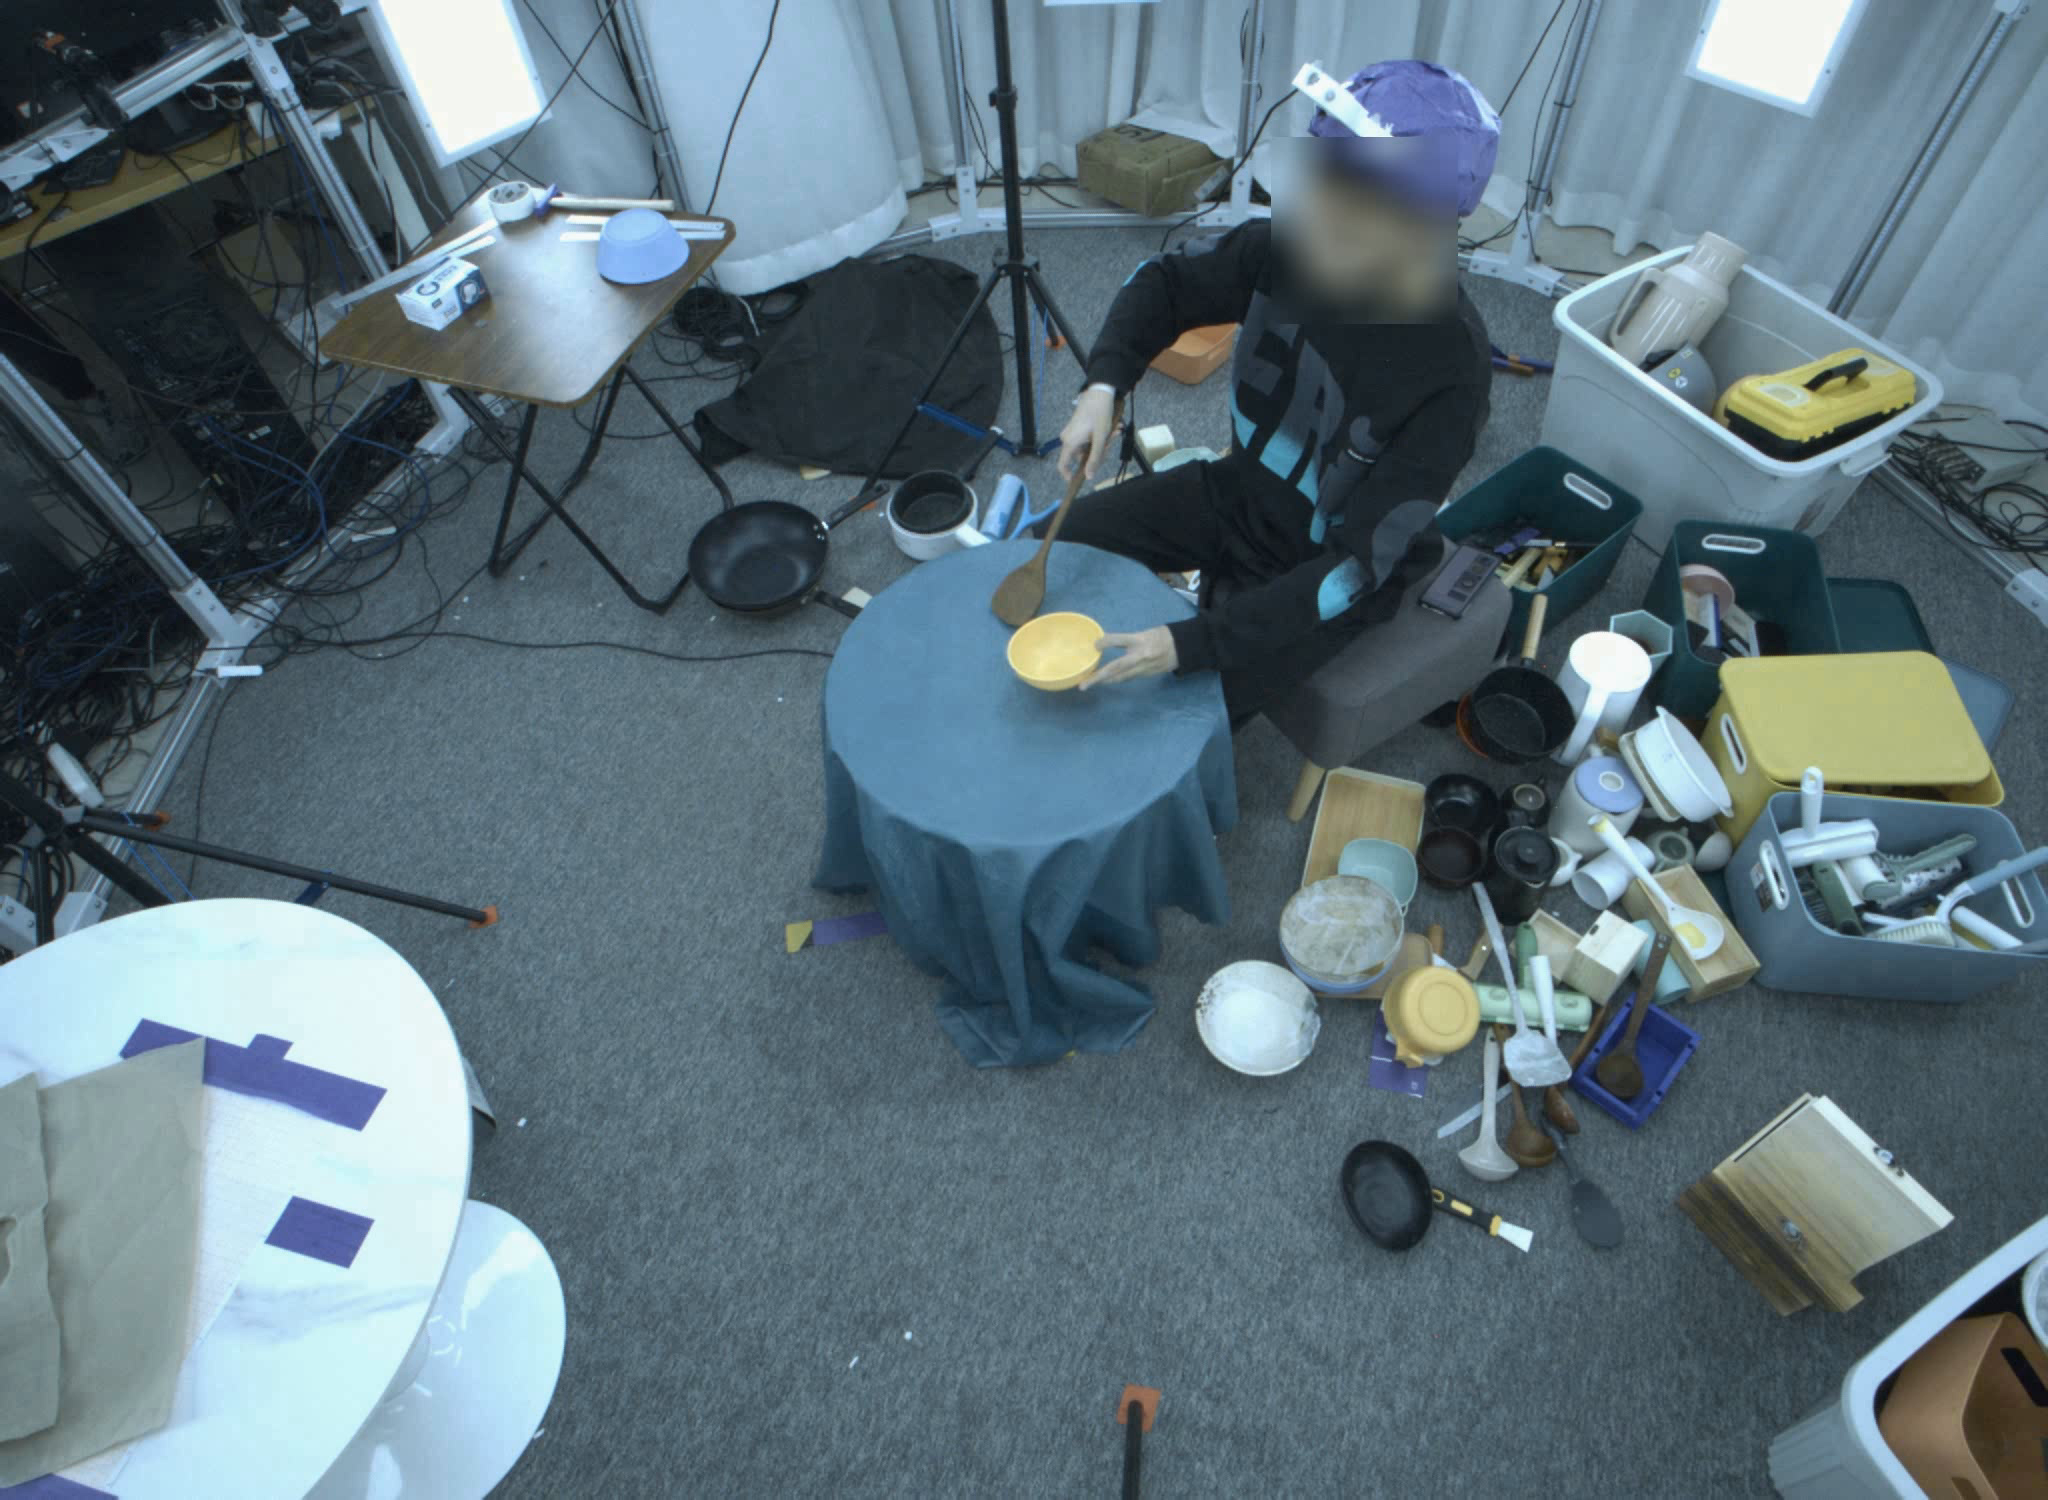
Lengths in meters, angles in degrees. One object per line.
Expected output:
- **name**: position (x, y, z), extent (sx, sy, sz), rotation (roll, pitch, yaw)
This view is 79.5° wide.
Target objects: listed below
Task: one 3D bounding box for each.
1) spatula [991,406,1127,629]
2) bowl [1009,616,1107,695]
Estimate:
- **spatula**: position (0.061, -0.366, 1.895), extent (0.094, 0.016, 0.386), rotation (34, 101, 37)
- **bowl**: position (0.053, -0.128, 1.821), extent (0.145, 0.061, 0.144), rotation (-4, 49, 6)
